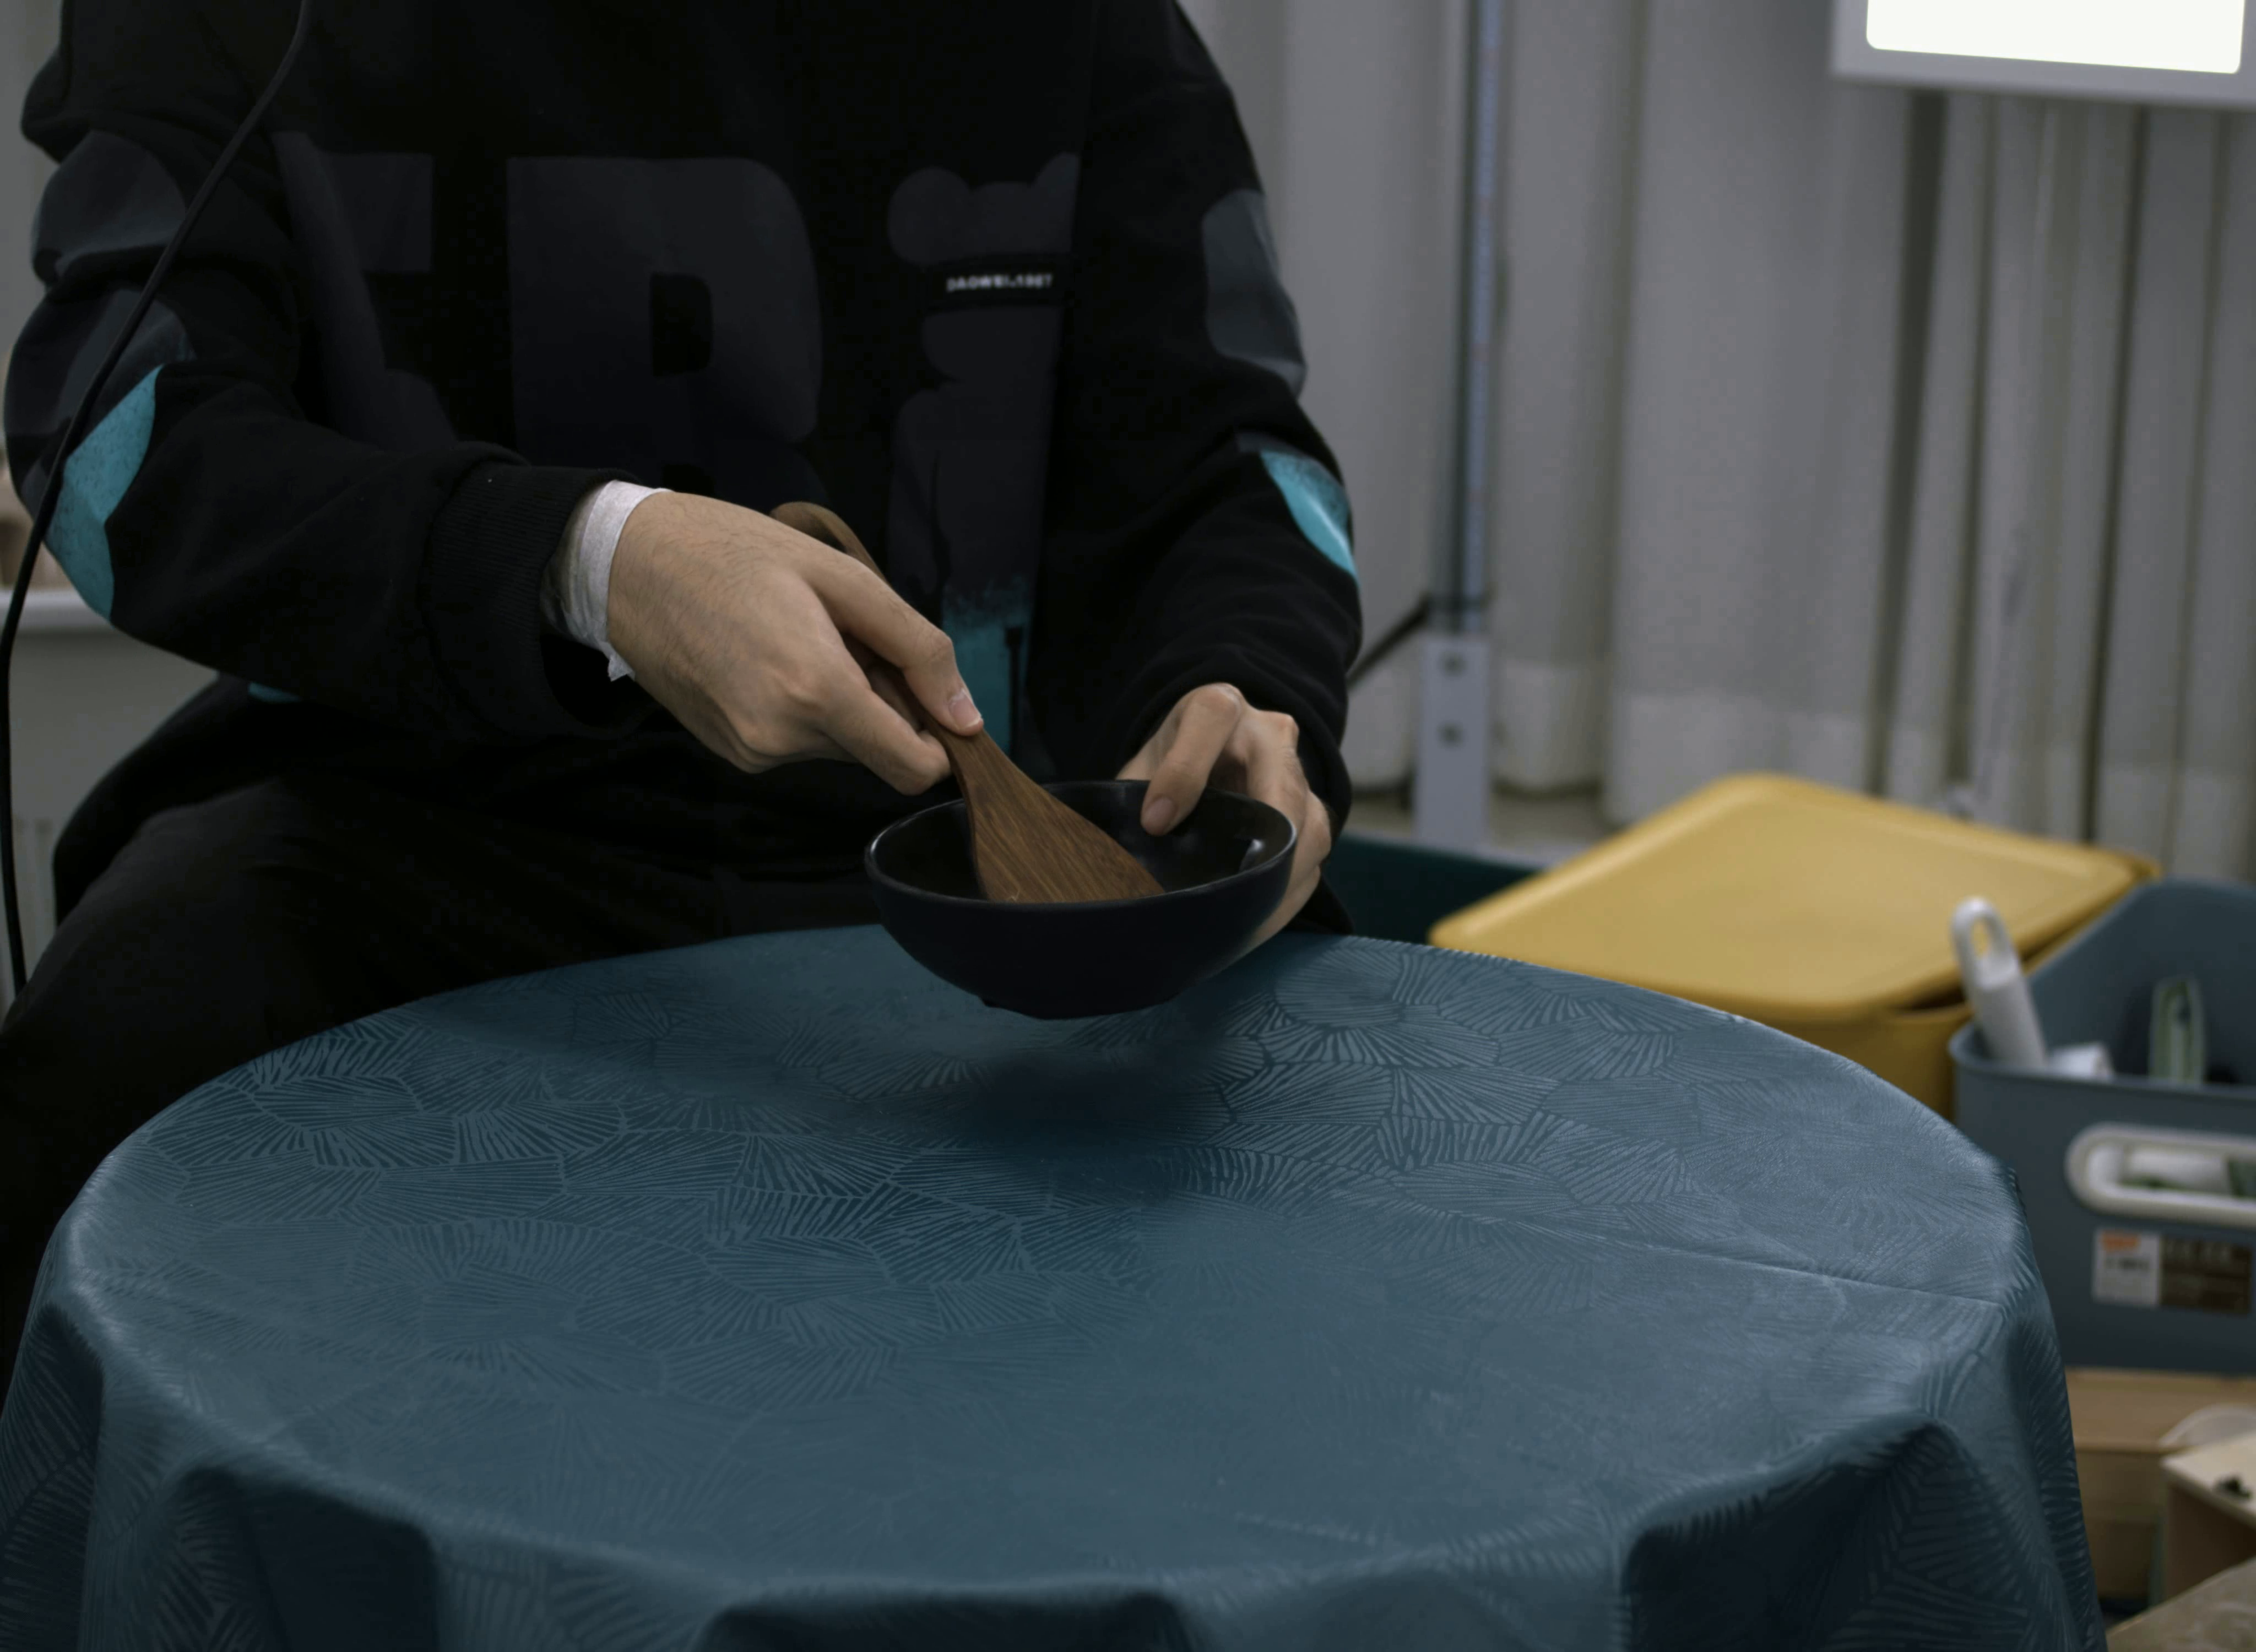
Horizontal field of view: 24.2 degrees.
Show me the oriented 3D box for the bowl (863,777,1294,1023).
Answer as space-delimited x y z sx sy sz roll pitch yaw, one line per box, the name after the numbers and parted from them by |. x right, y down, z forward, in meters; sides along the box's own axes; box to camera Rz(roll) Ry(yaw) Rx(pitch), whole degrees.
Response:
-0.013 0.028 1.688 0.139 0.050 0.139 -5 17 2 | bowl

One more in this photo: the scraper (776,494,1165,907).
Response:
-0.052 -0.029 1.710 0.076 0.011 0.209 -13 61 -47 | scraper
